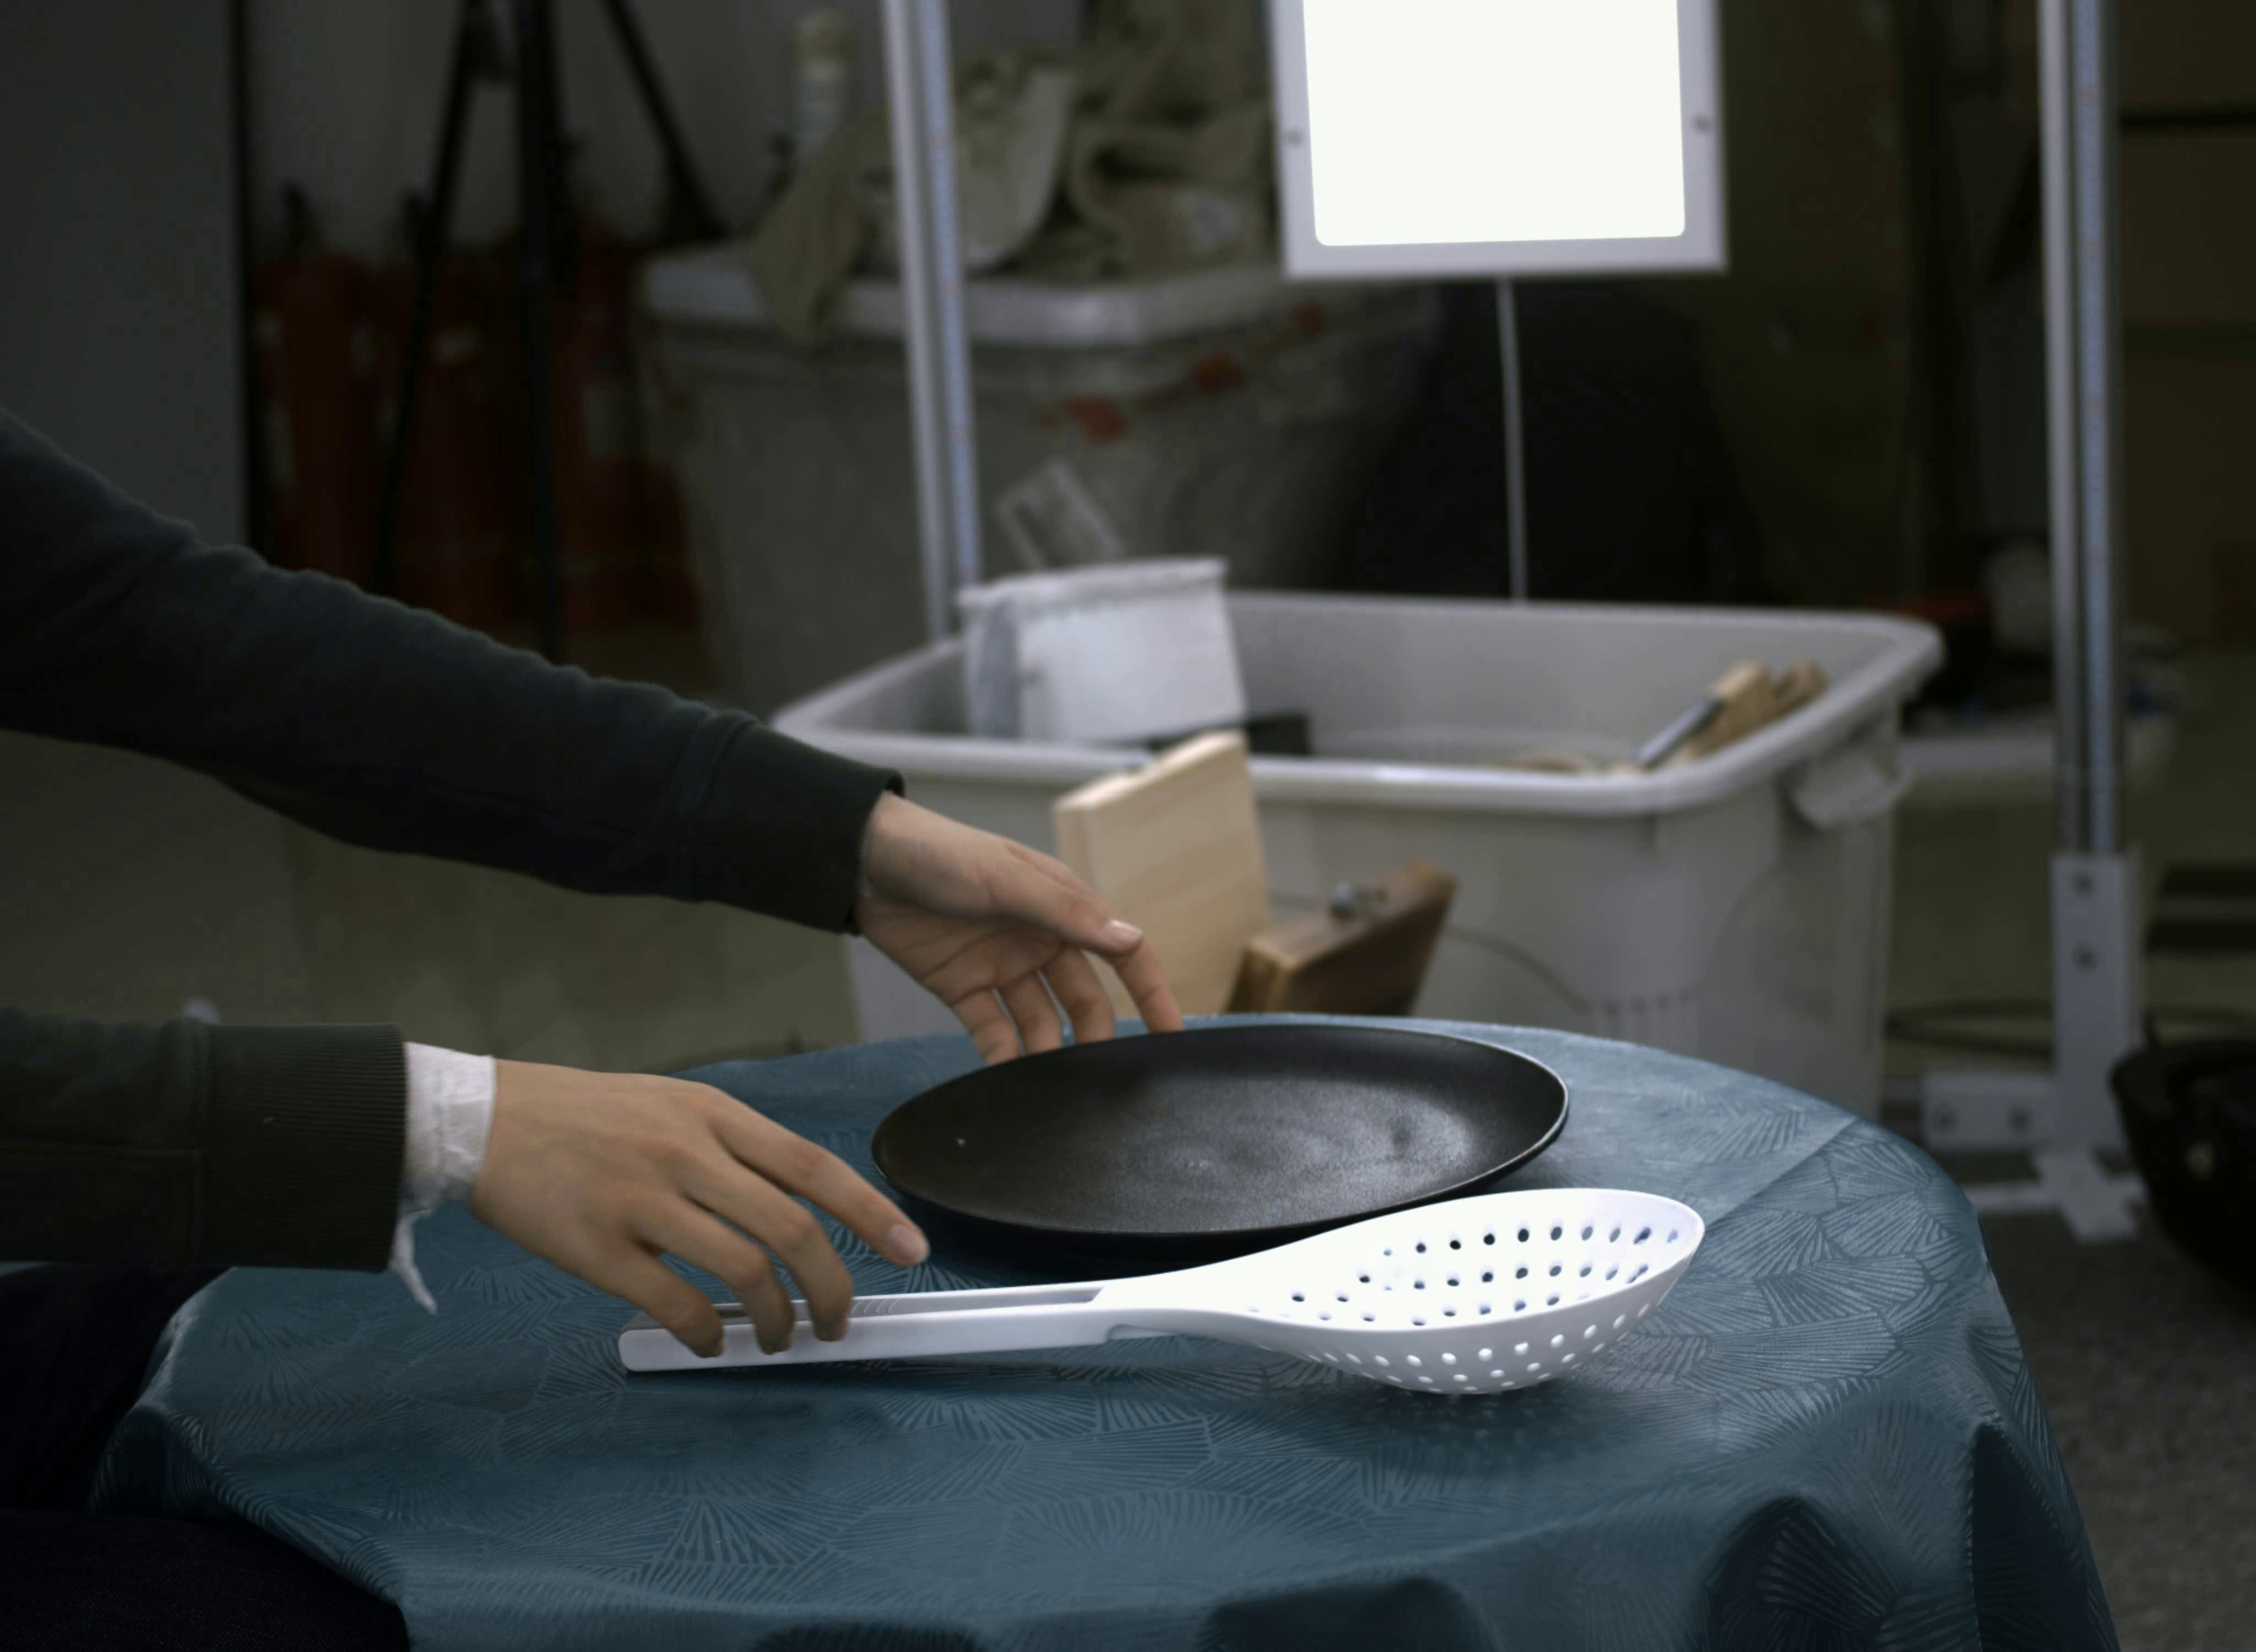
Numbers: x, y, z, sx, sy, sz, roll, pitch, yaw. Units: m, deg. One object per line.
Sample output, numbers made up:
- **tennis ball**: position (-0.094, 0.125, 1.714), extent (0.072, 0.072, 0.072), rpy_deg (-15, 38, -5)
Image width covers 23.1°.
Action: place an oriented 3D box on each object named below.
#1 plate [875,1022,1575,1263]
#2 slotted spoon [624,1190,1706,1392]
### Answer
- **plate**: position (0.034, 0.112, 1.898), extent (0.244, 0.023, 0.244), rpy_deg (-5, 14, 0)
- **slotted spoon**: position (0.008, 0.148, 1.709), extent (0.354, 0.046, 0.134), rpy_deg (-1, 12, 18)
